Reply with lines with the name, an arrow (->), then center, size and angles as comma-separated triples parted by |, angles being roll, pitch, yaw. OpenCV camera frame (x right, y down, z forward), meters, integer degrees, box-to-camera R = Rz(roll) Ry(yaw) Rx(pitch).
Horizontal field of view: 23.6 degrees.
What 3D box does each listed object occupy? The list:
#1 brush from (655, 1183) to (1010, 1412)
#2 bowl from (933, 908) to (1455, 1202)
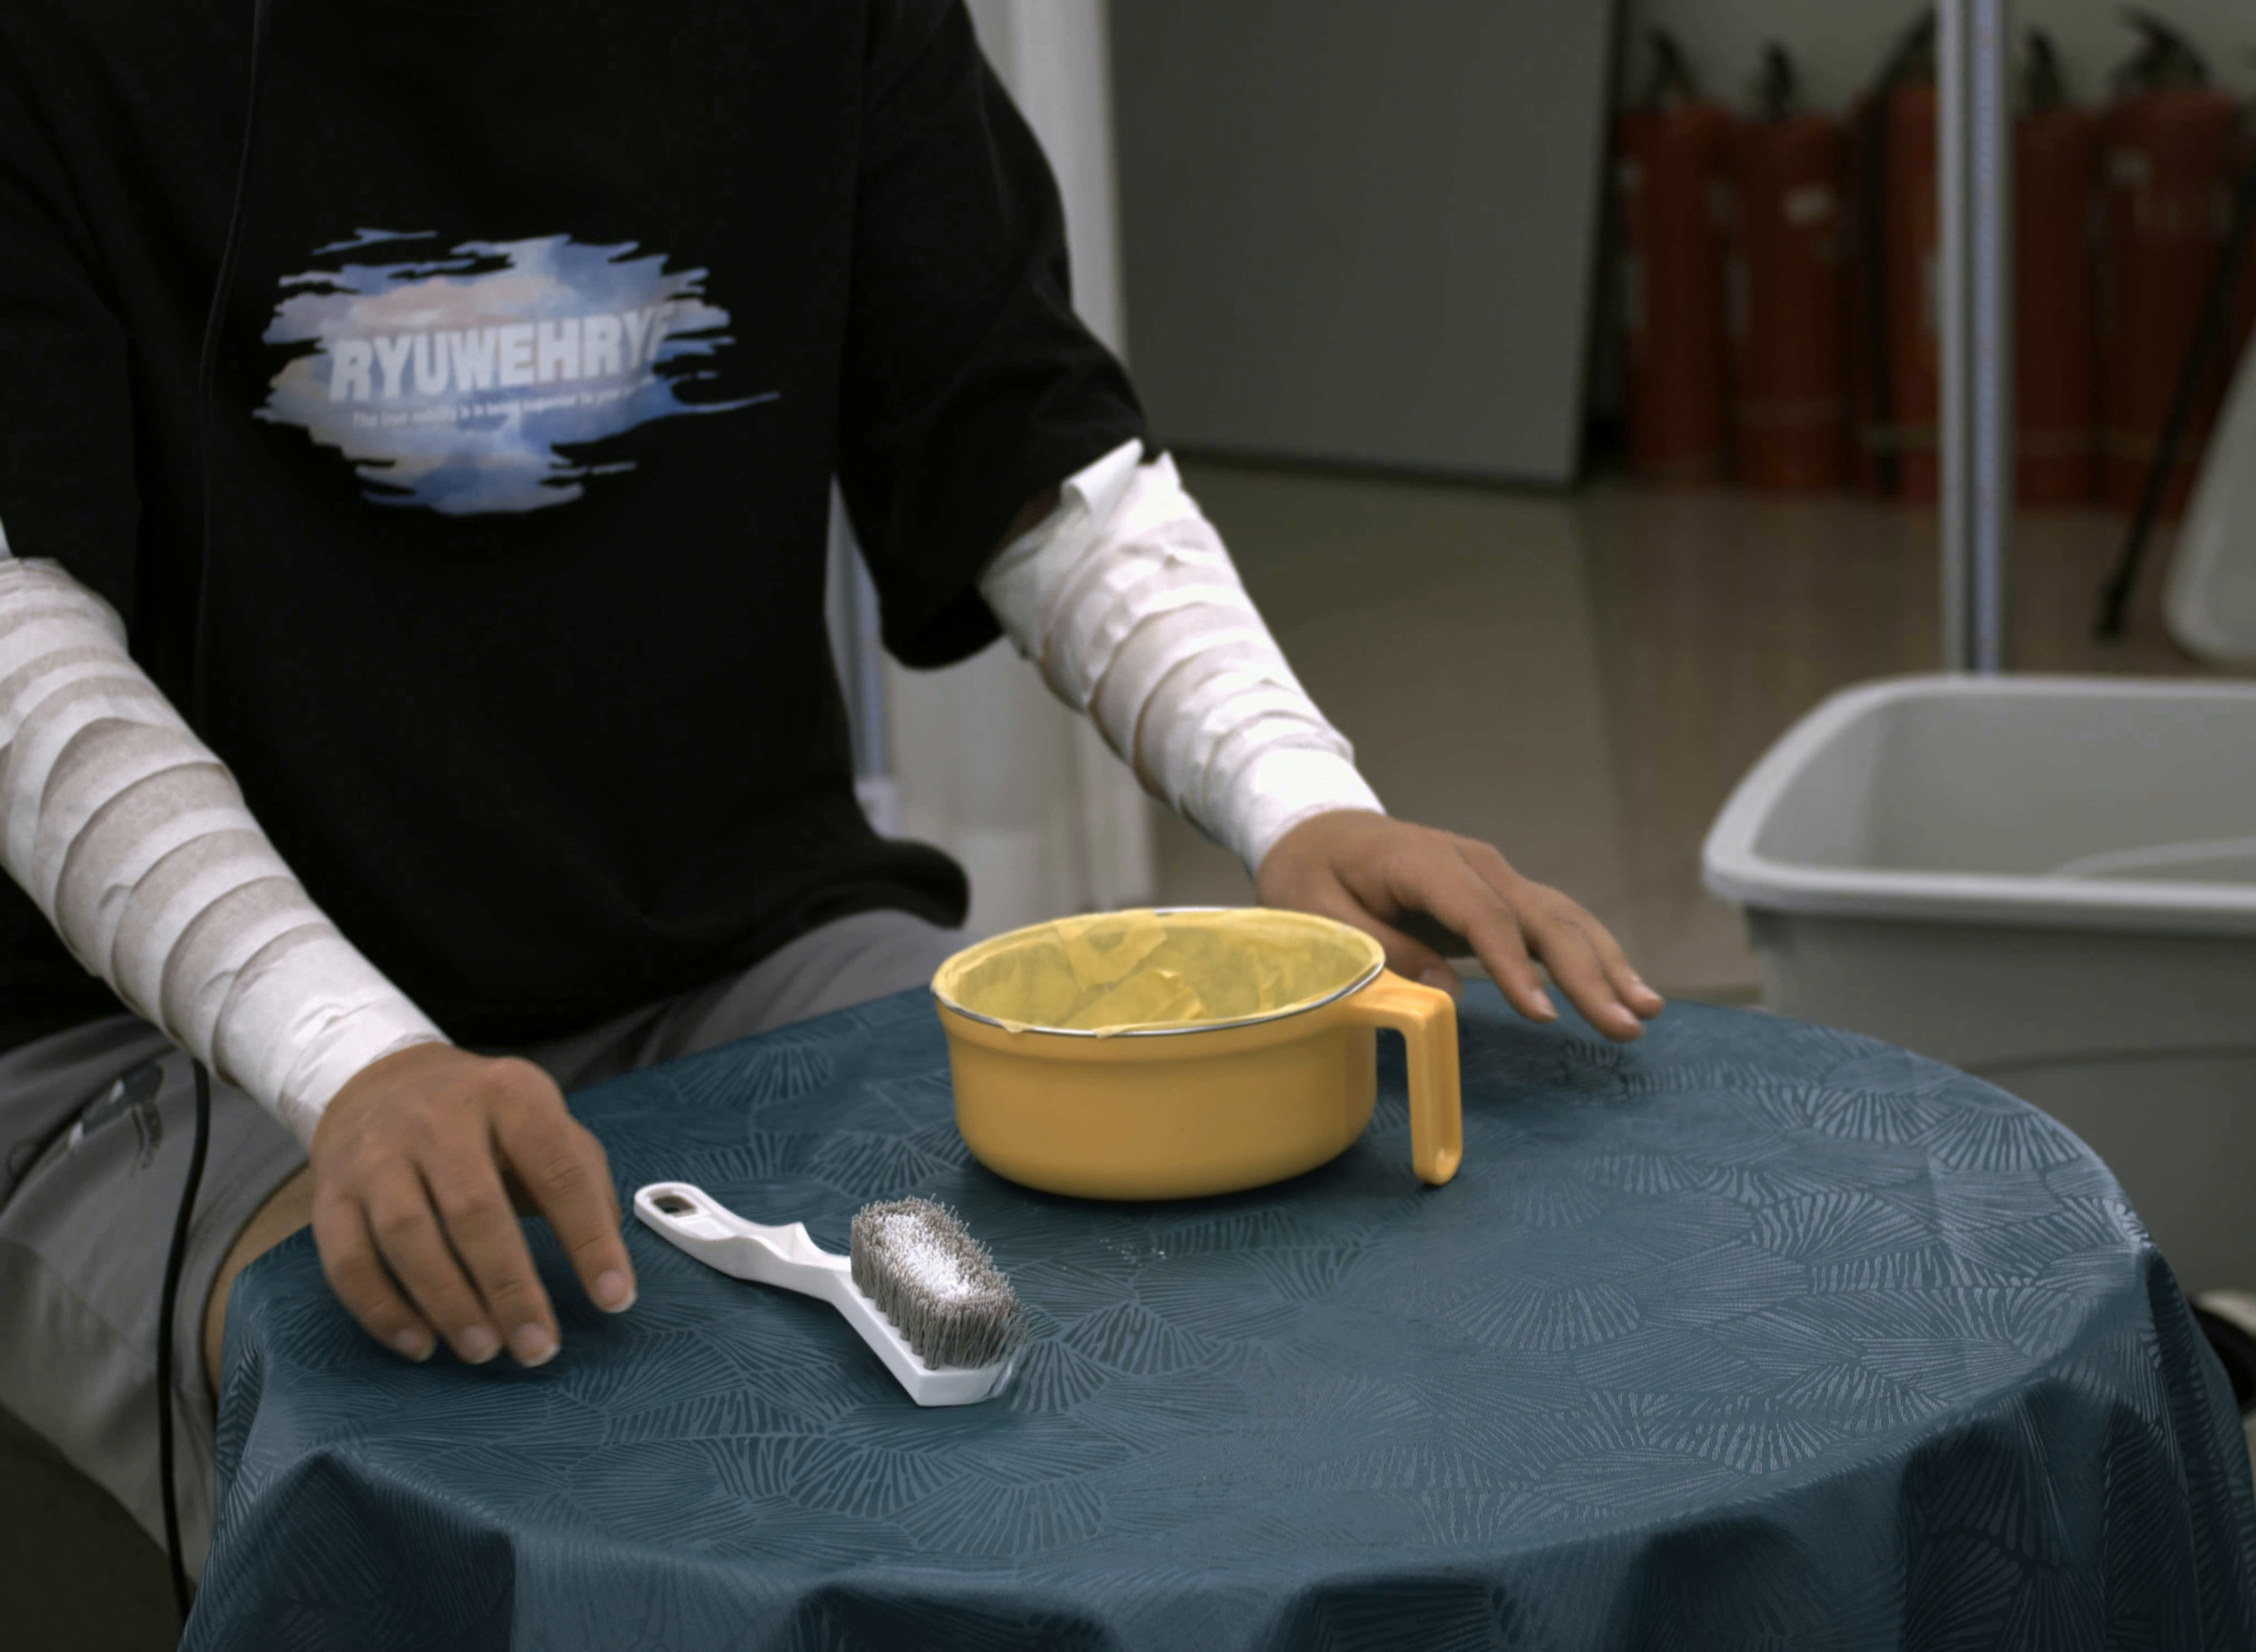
brush -> -0.097, 0.126, 1.677 | 0.033, 0.051, 0.246 | -11, 16, -23
bowl -> 0.023, 0.079, 1.793 | 0.179, 0.075, 0.151 | 4, 11, 25
